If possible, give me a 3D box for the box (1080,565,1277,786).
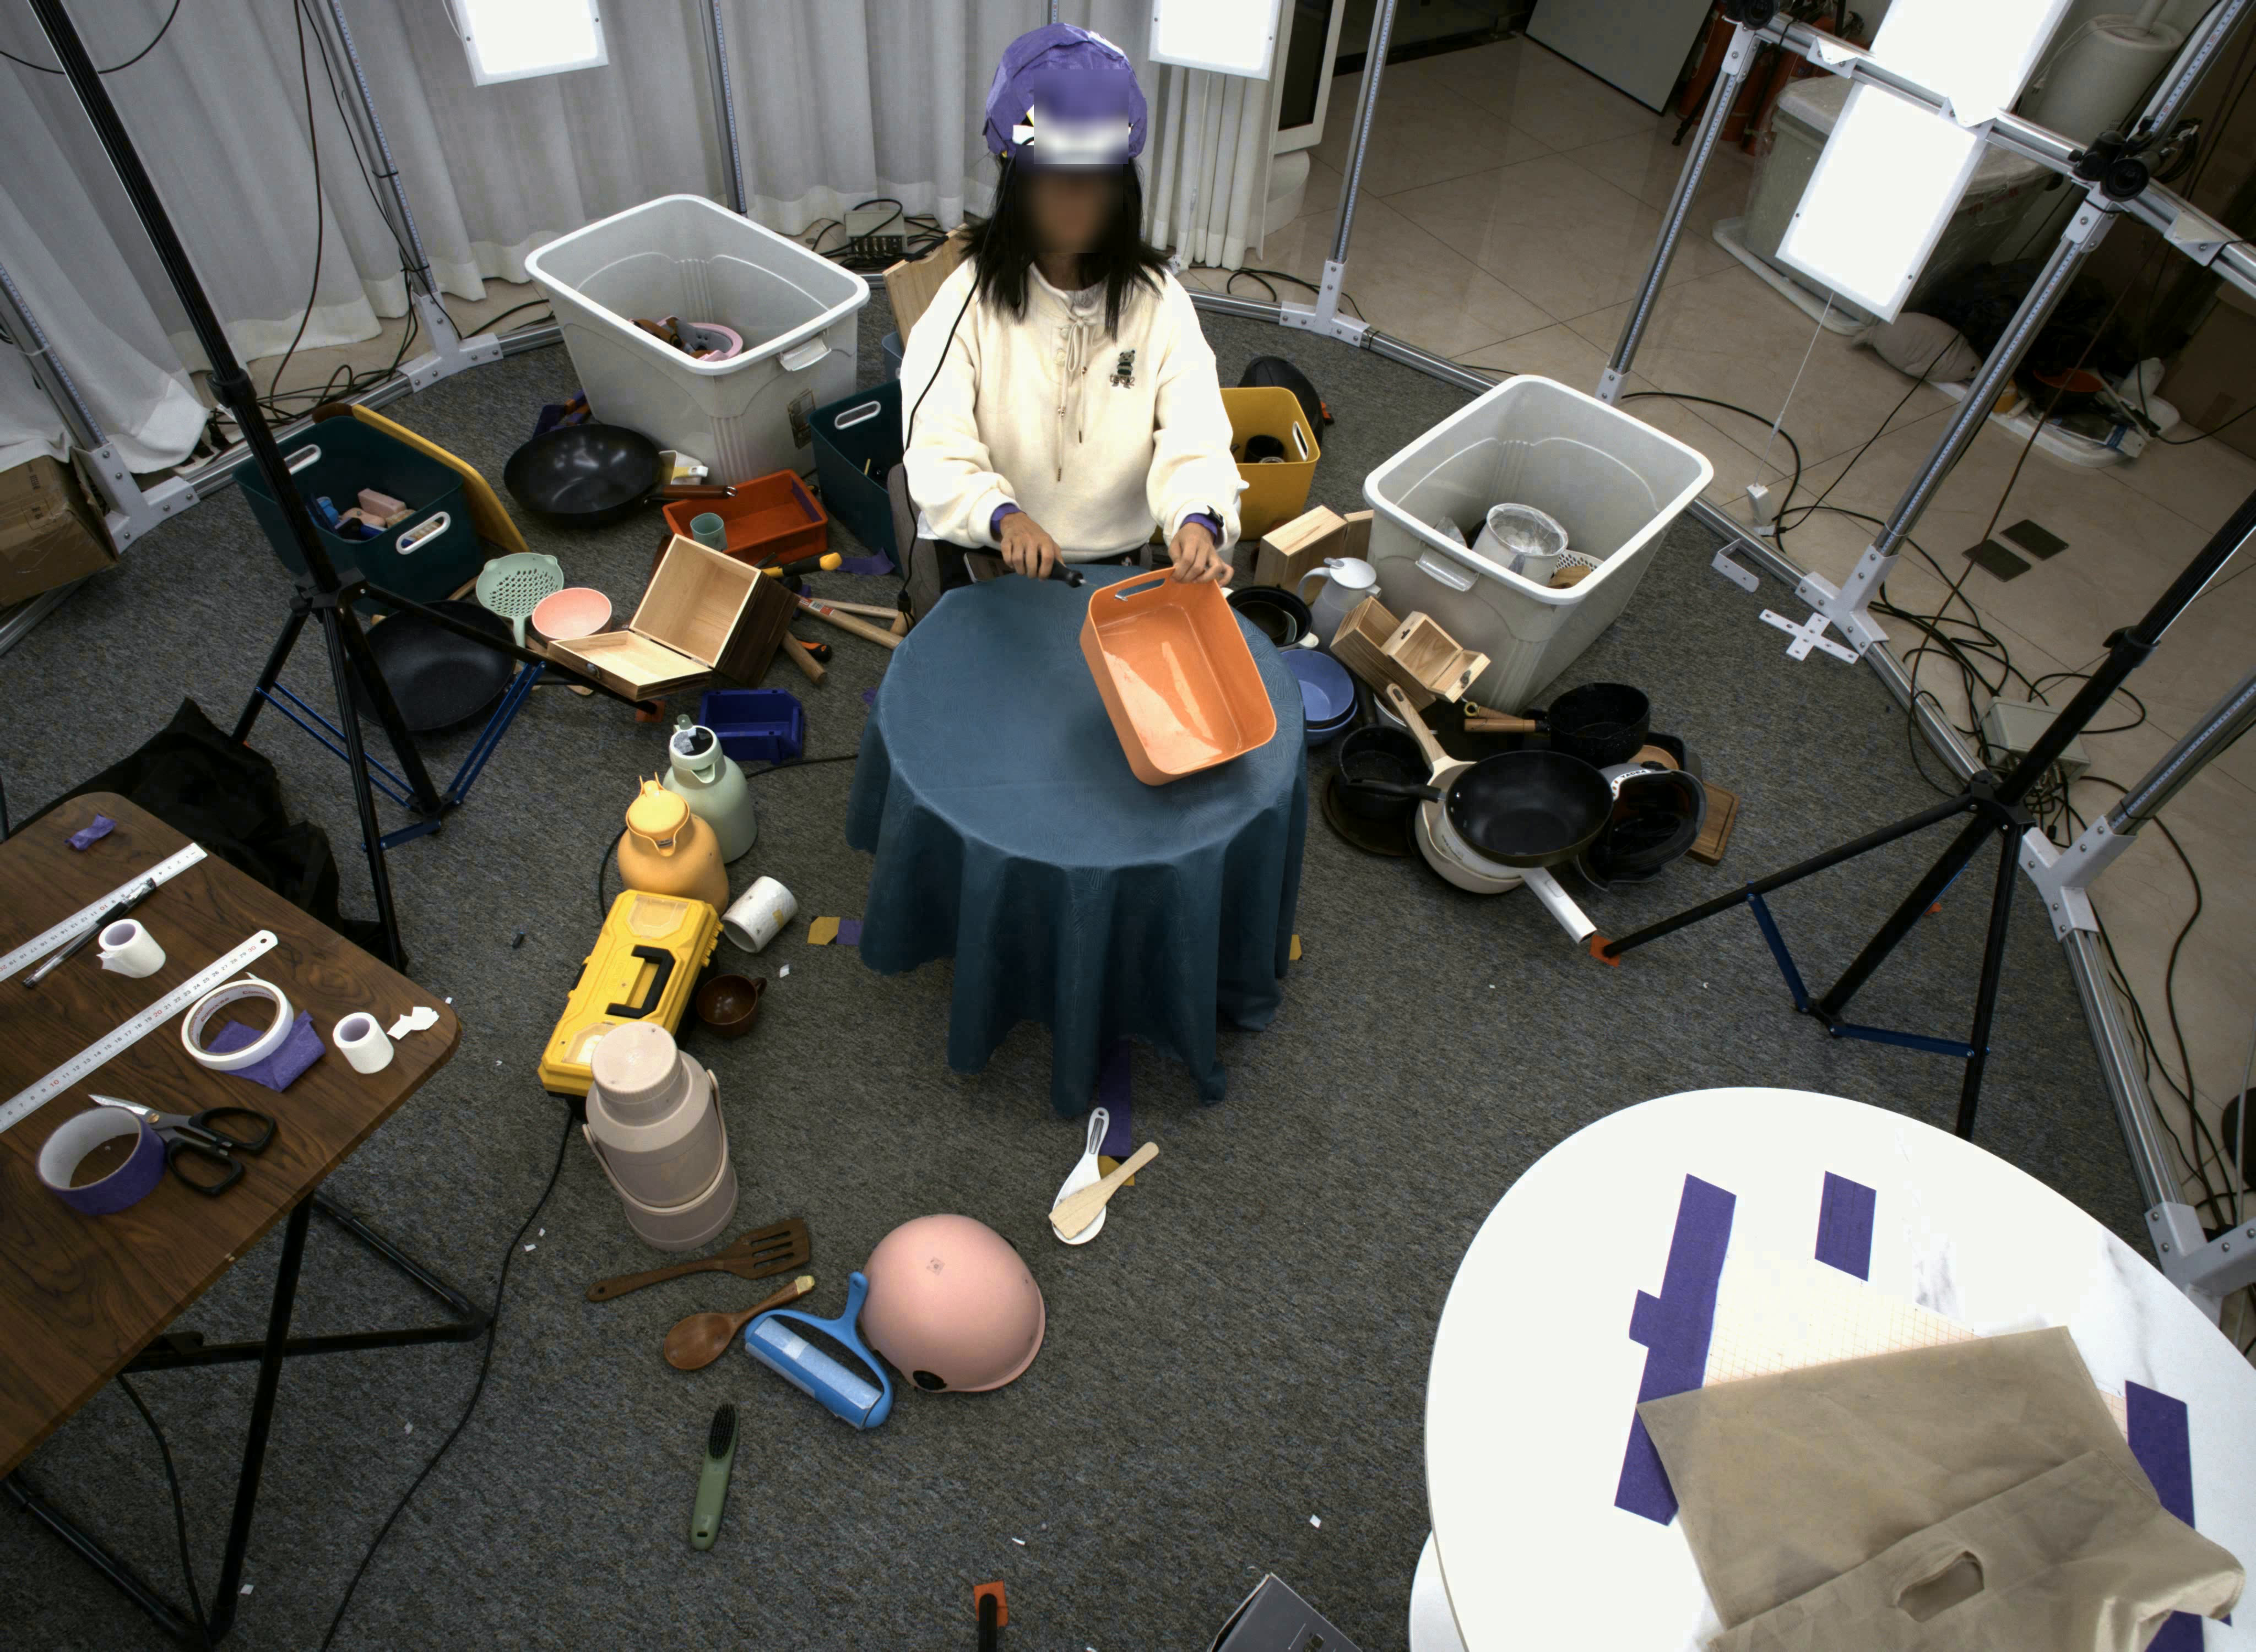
[{"bbox_3d":[0.061,-0.196,1.718,0.200,0.101,0.275,-19,80,-19],"label":"box"}]

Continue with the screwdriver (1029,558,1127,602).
[{"bbox_3d":[-0.071,-0.334,1.775,0.031,0.031,0.199,-31,42,-27],"label":"screwdriver"}]
